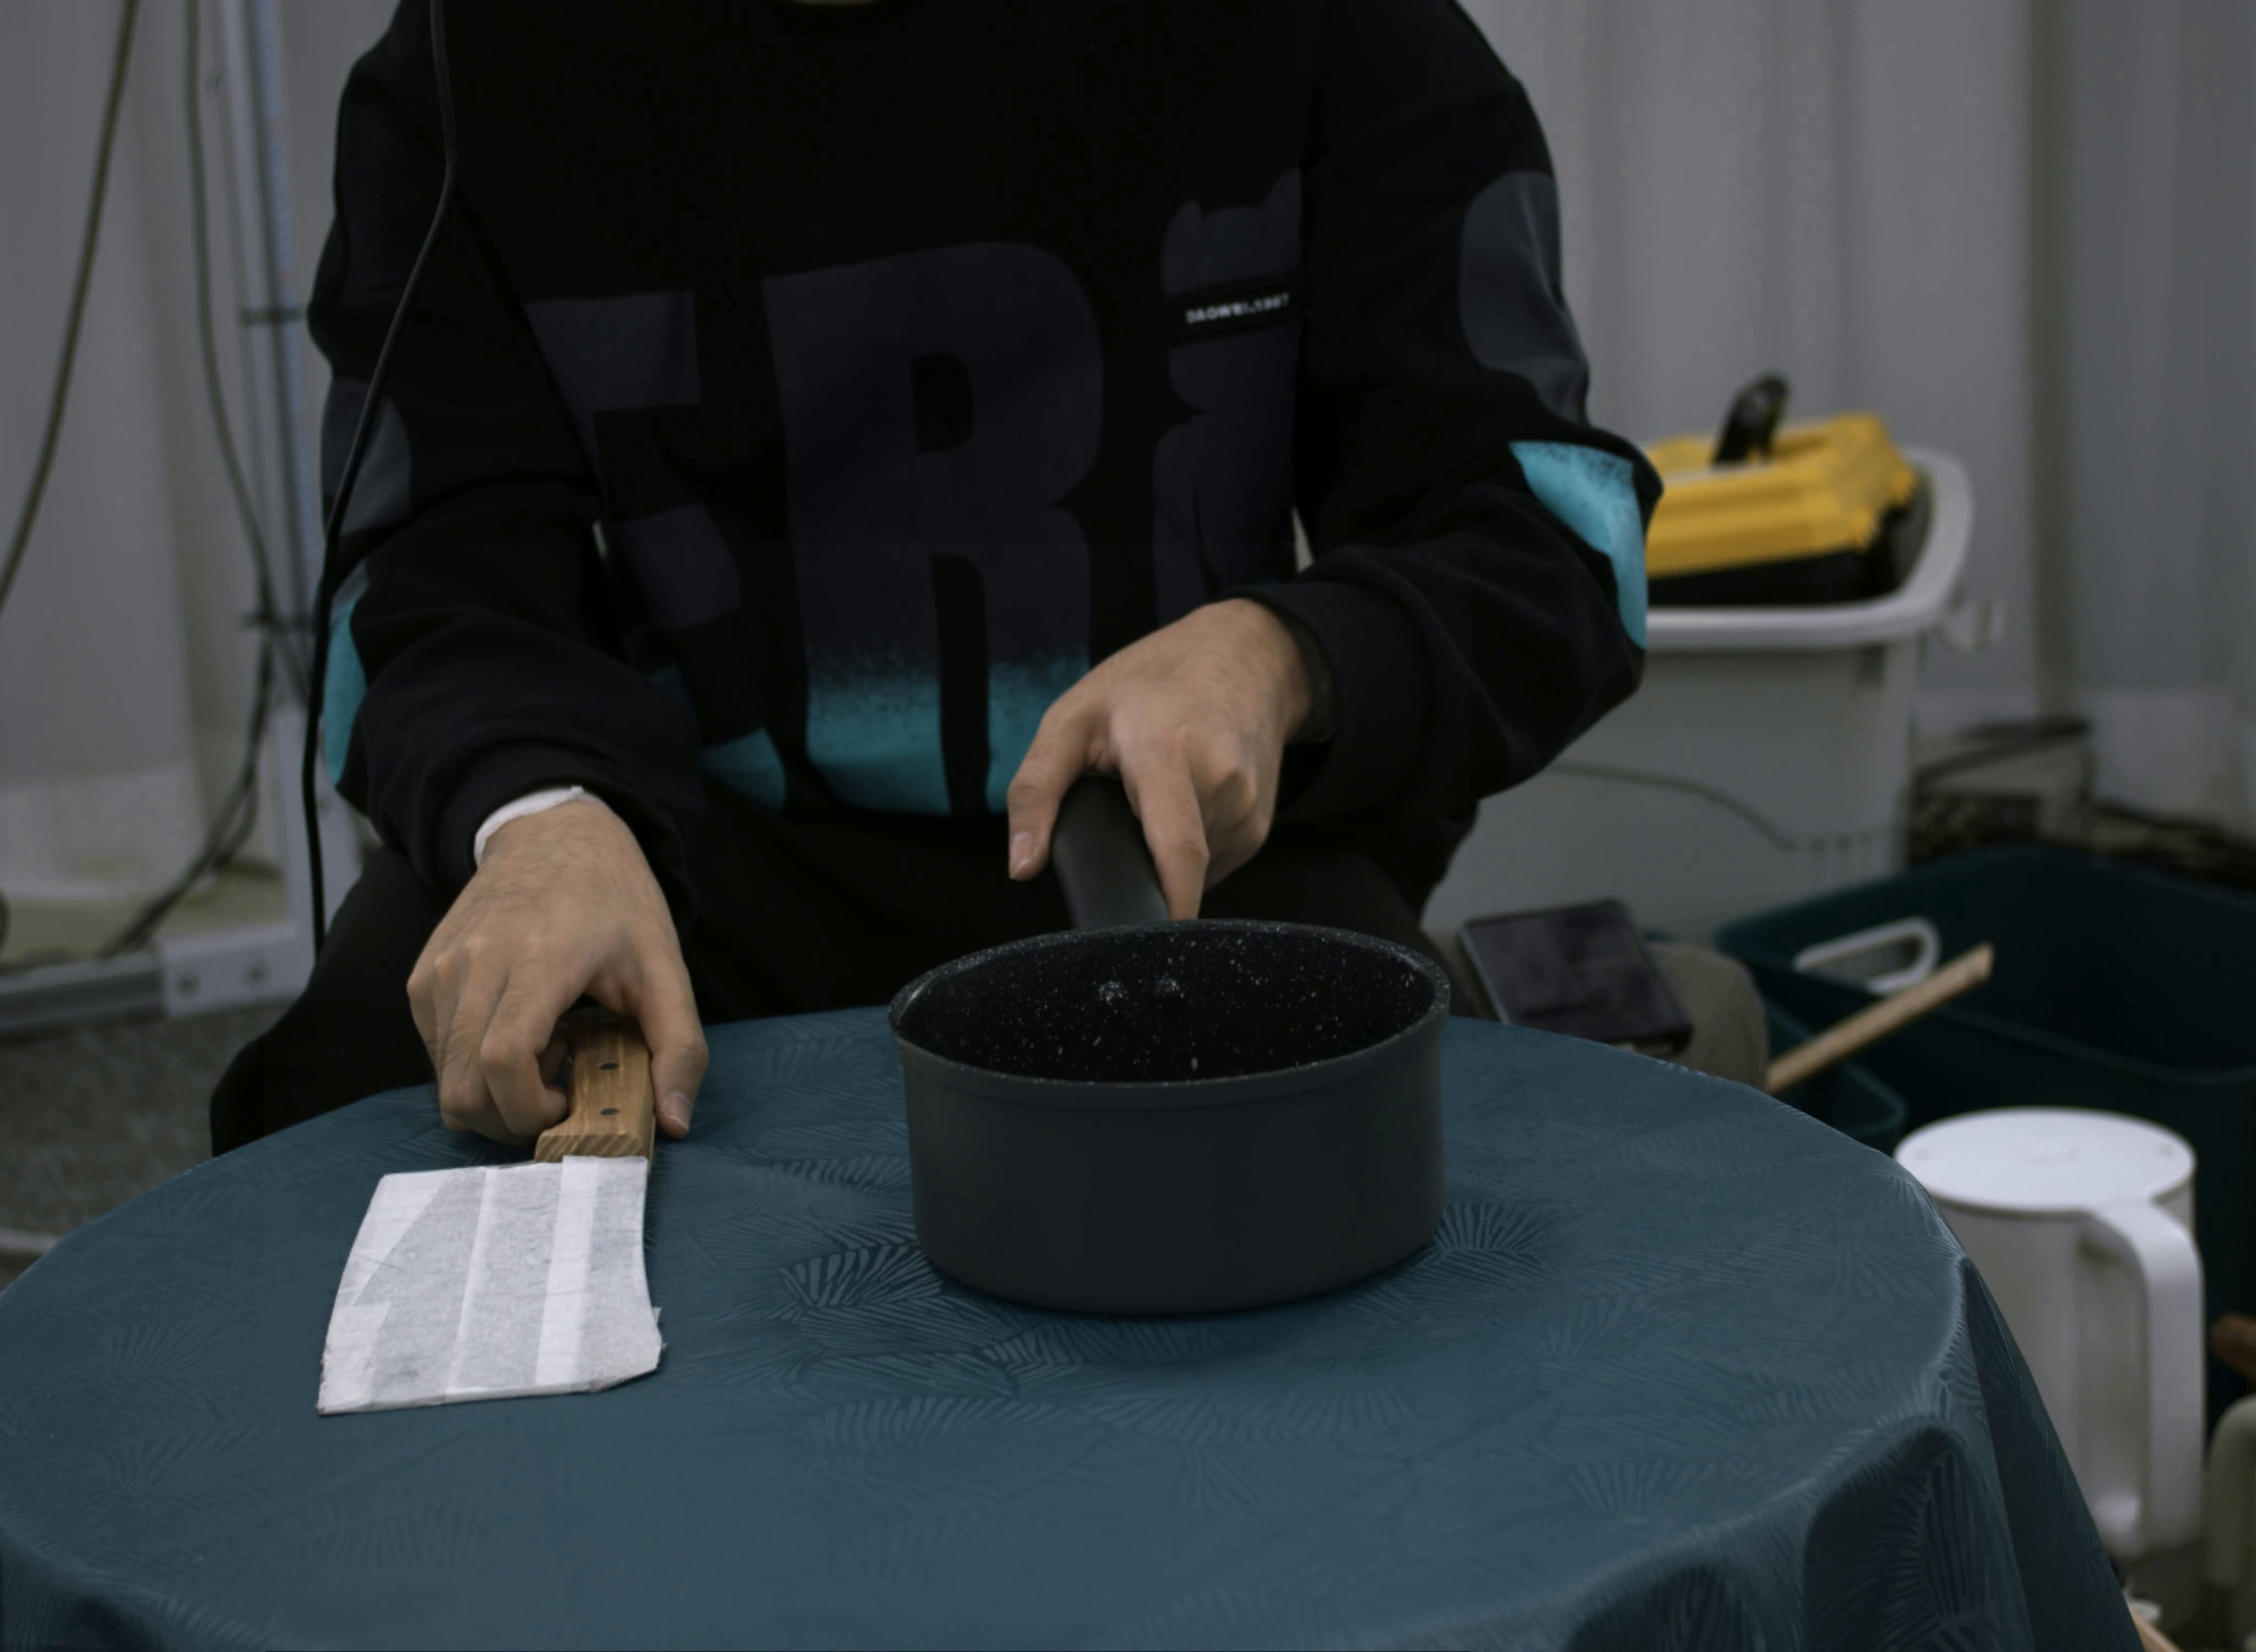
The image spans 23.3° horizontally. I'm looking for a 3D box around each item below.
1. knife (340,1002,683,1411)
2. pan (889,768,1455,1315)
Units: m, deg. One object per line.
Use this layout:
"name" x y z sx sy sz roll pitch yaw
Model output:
"knife" -0.183 0.117 1.708 0.113 0.021 0.318 -3 18 2
"pan" 0.009 0.065 1.739 0.171 0.086 0.331 -2 16 -3
